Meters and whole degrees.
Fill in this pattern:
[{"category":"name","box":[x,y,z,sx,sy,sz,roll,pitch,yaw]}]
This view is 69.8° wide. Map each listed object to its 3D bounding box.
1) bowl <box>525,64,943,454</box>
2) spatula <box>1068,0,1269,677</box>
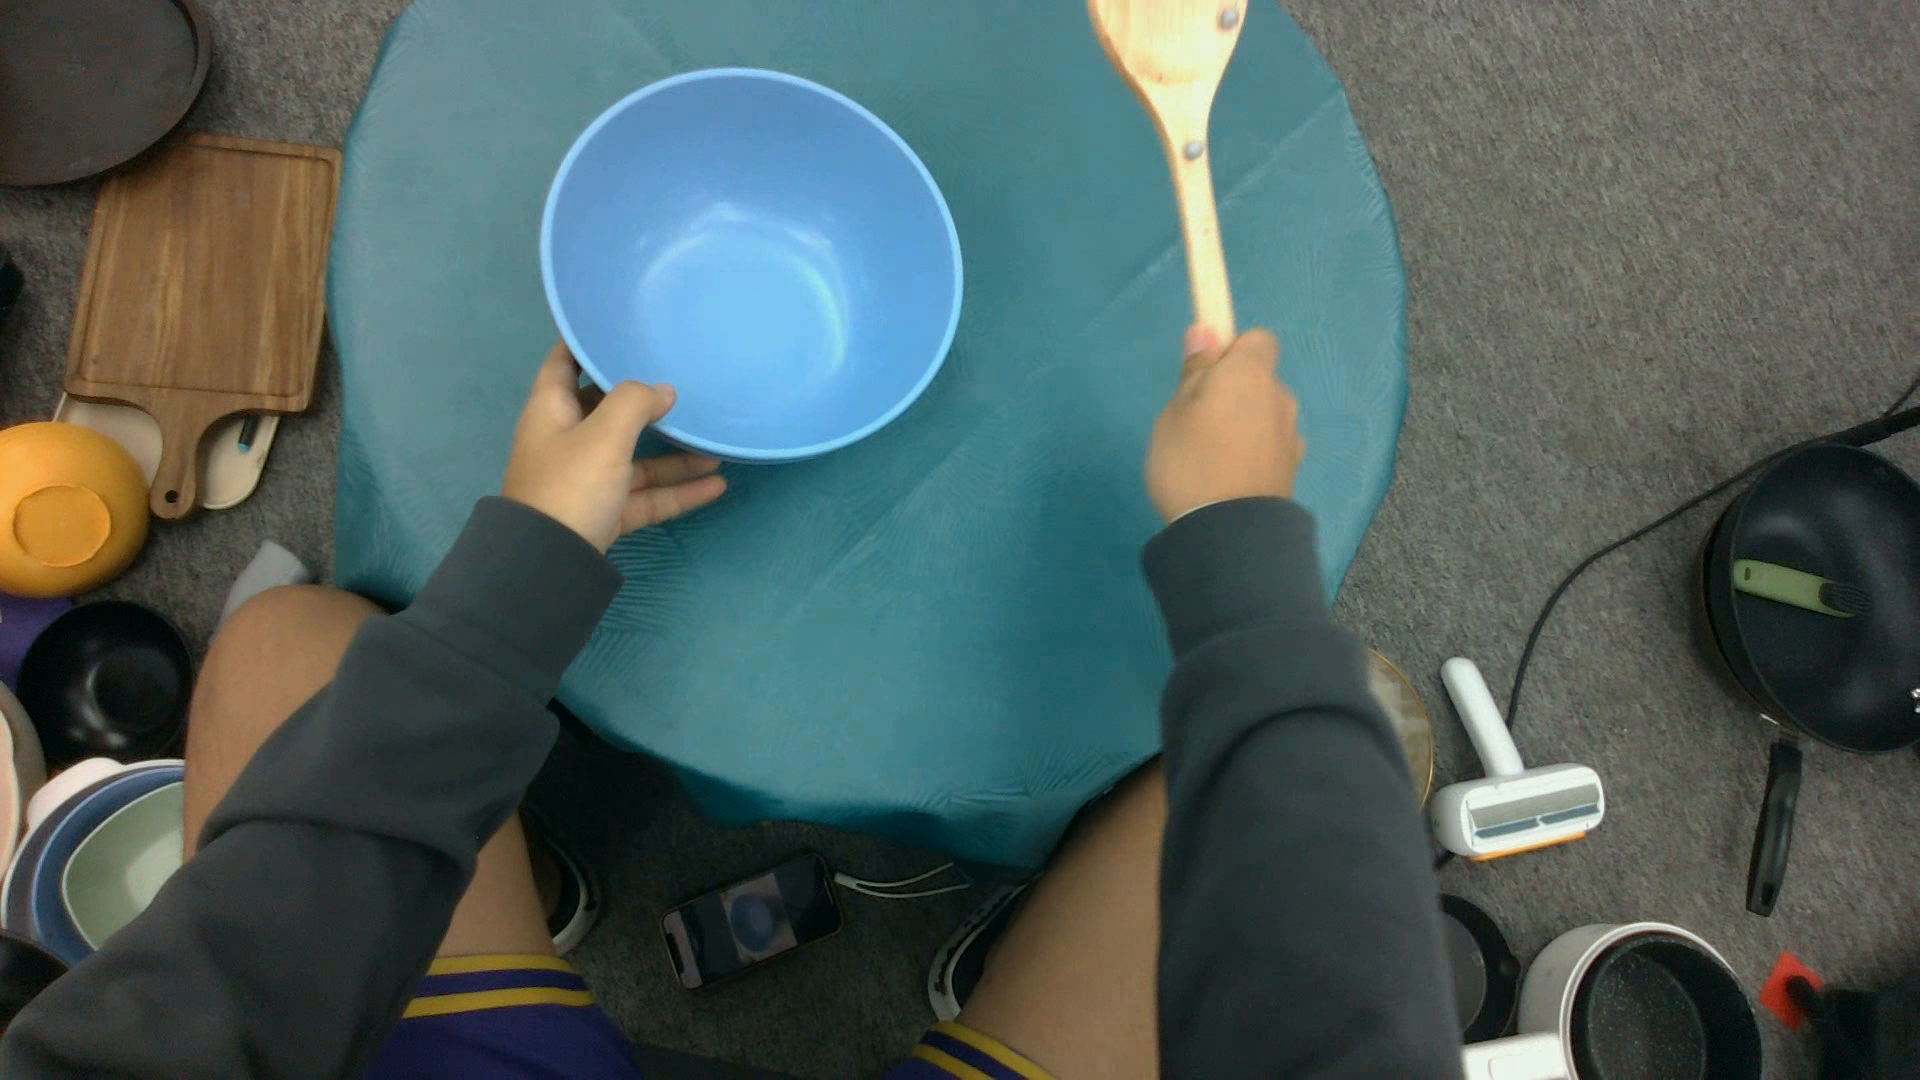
[{"category":"bowl","box":[-0.115,-0.125,0.689,0.197,0.095,0.197,5,73,-17]},{"category":"spatula","box":[0.118,-0.122,0.676,0.096,0.018,0.390,-13,97,-24]}]
